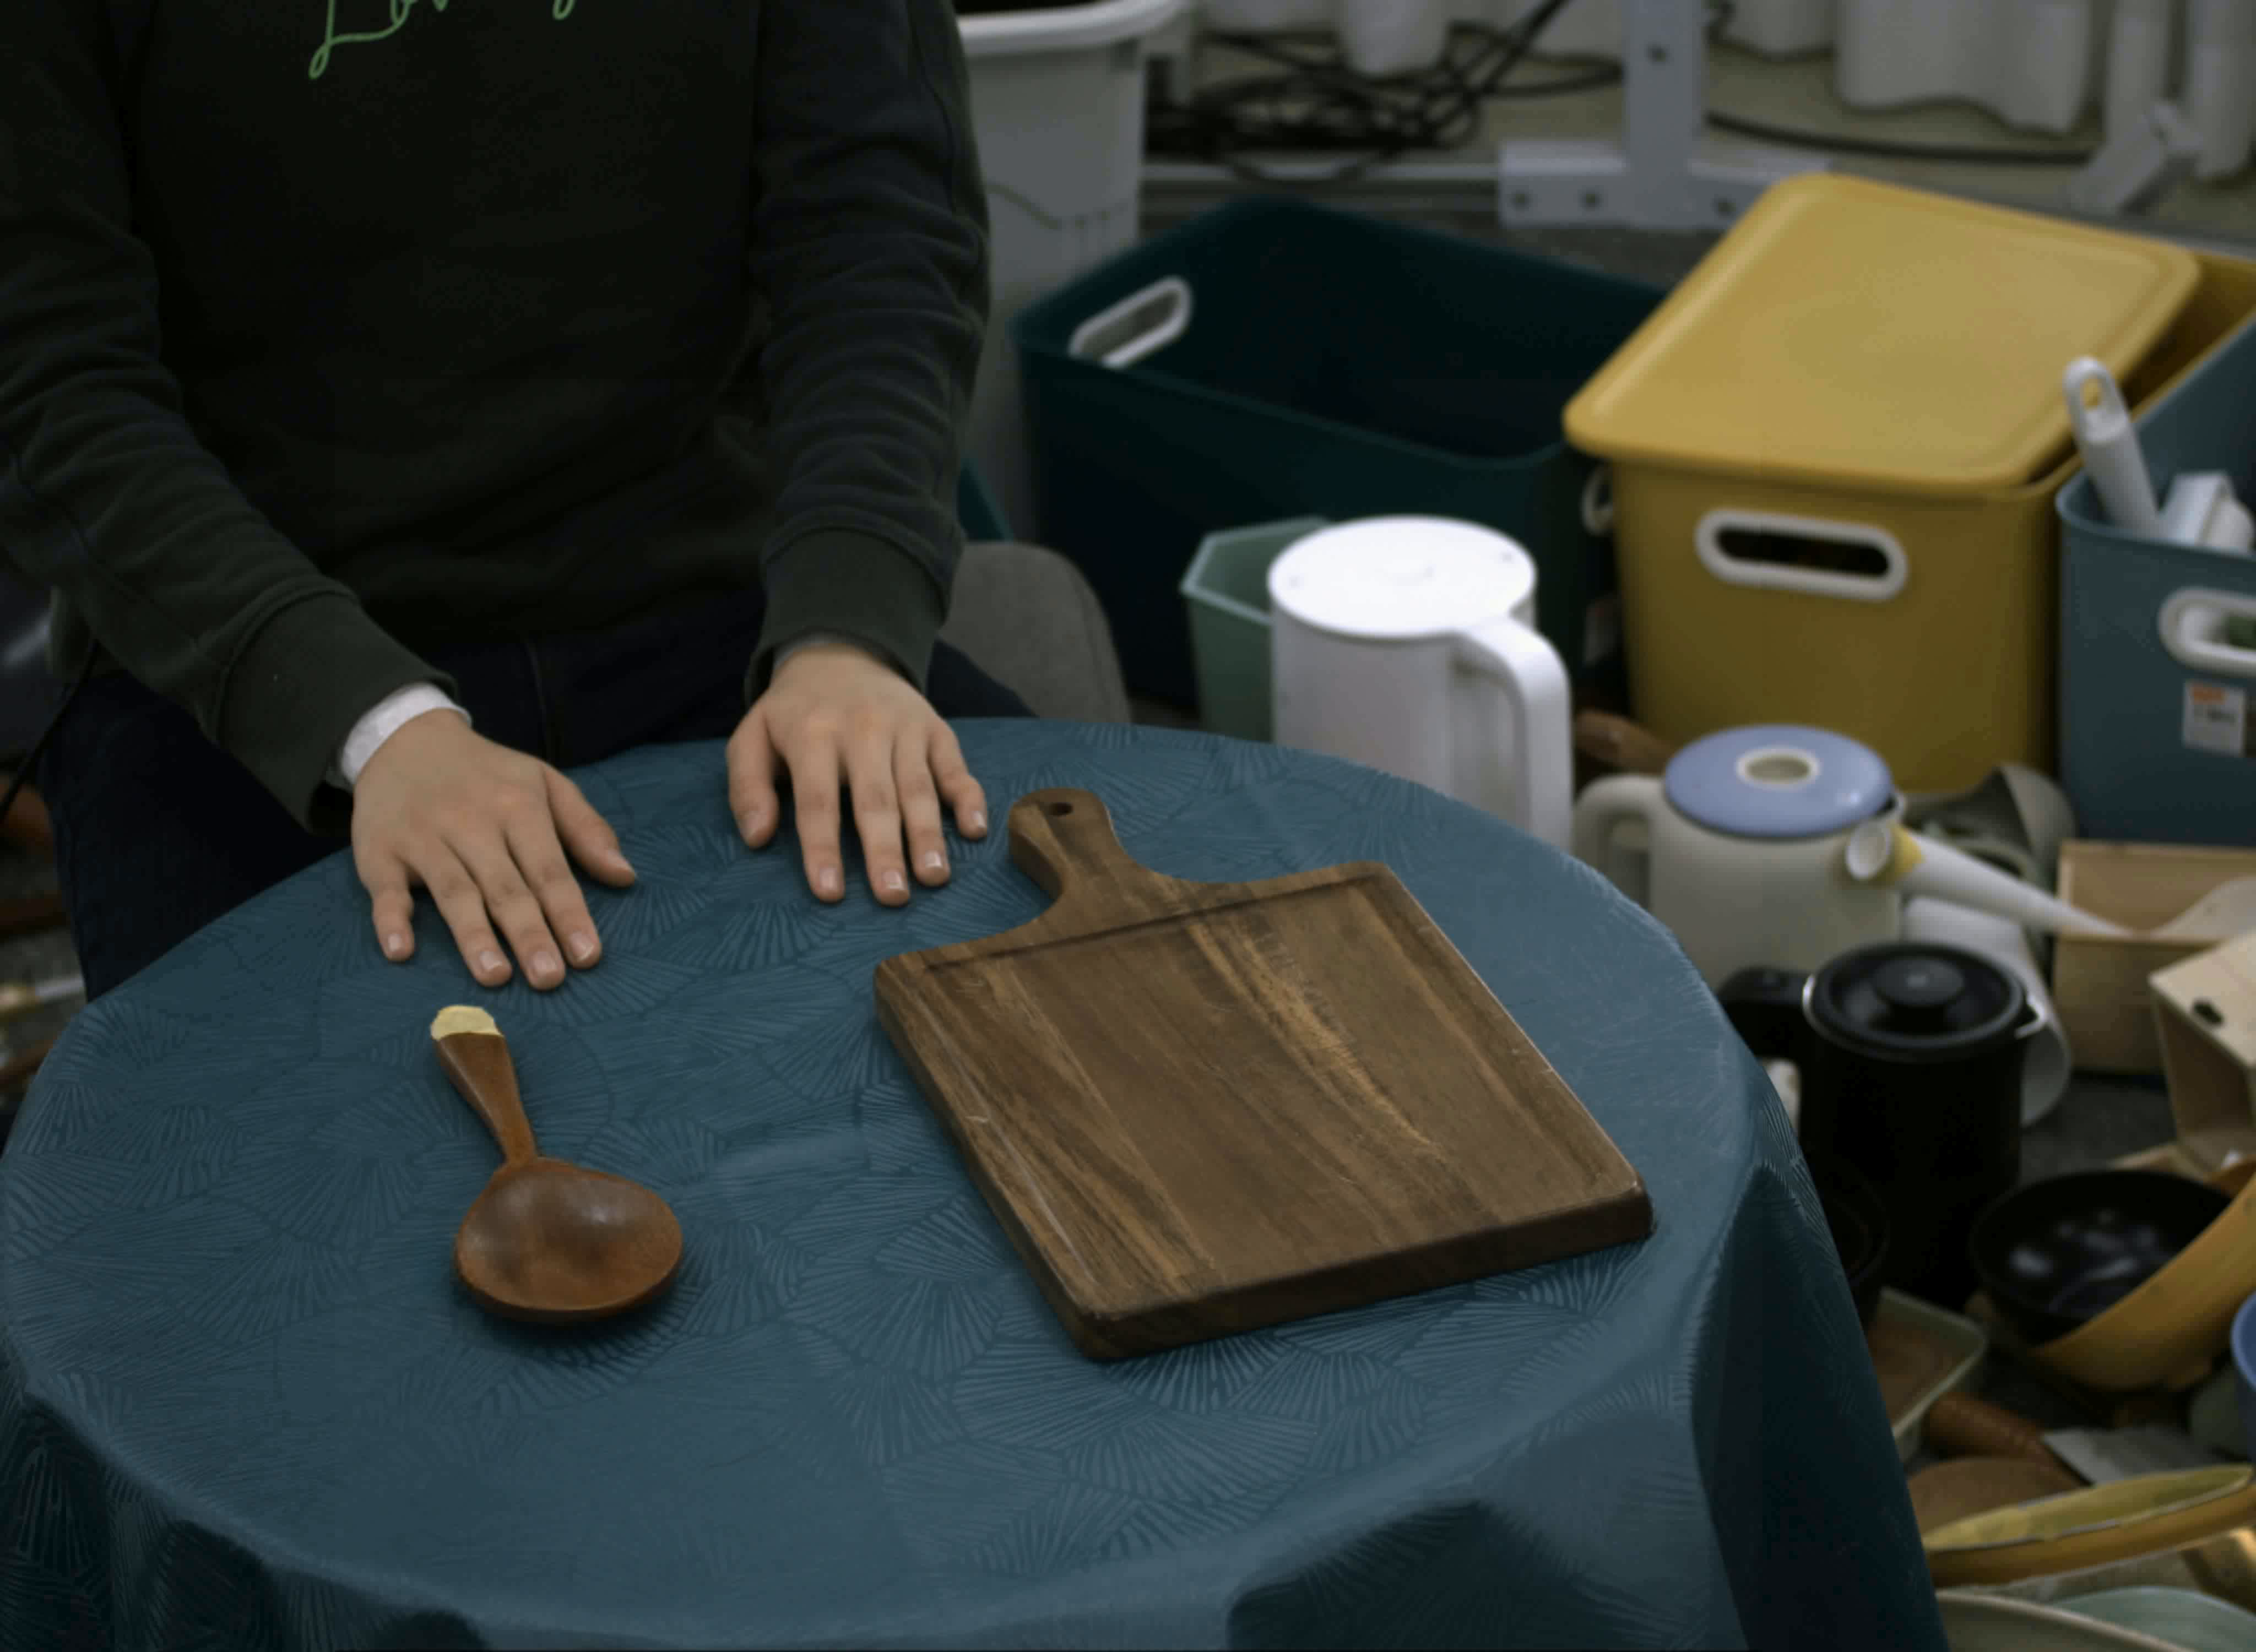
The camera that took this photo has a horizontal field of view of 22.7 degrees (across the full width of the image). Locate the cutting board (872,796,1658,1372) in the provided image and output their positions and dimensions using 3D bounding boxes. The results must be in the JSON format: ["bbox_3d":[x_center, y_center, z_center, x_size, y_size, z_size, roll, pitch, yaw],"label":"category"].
[{"bbox_3d":[0.025,0.072,1.937,0.201,0.023,0.355,-12,28,-15],"label":"cutting board"}]

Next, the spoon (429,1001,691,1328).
[{"bbox_3d":[-0.200,0.113,1.878,0.075,0.017,0.218,-13,29,-14],"label":"spoon"}]
